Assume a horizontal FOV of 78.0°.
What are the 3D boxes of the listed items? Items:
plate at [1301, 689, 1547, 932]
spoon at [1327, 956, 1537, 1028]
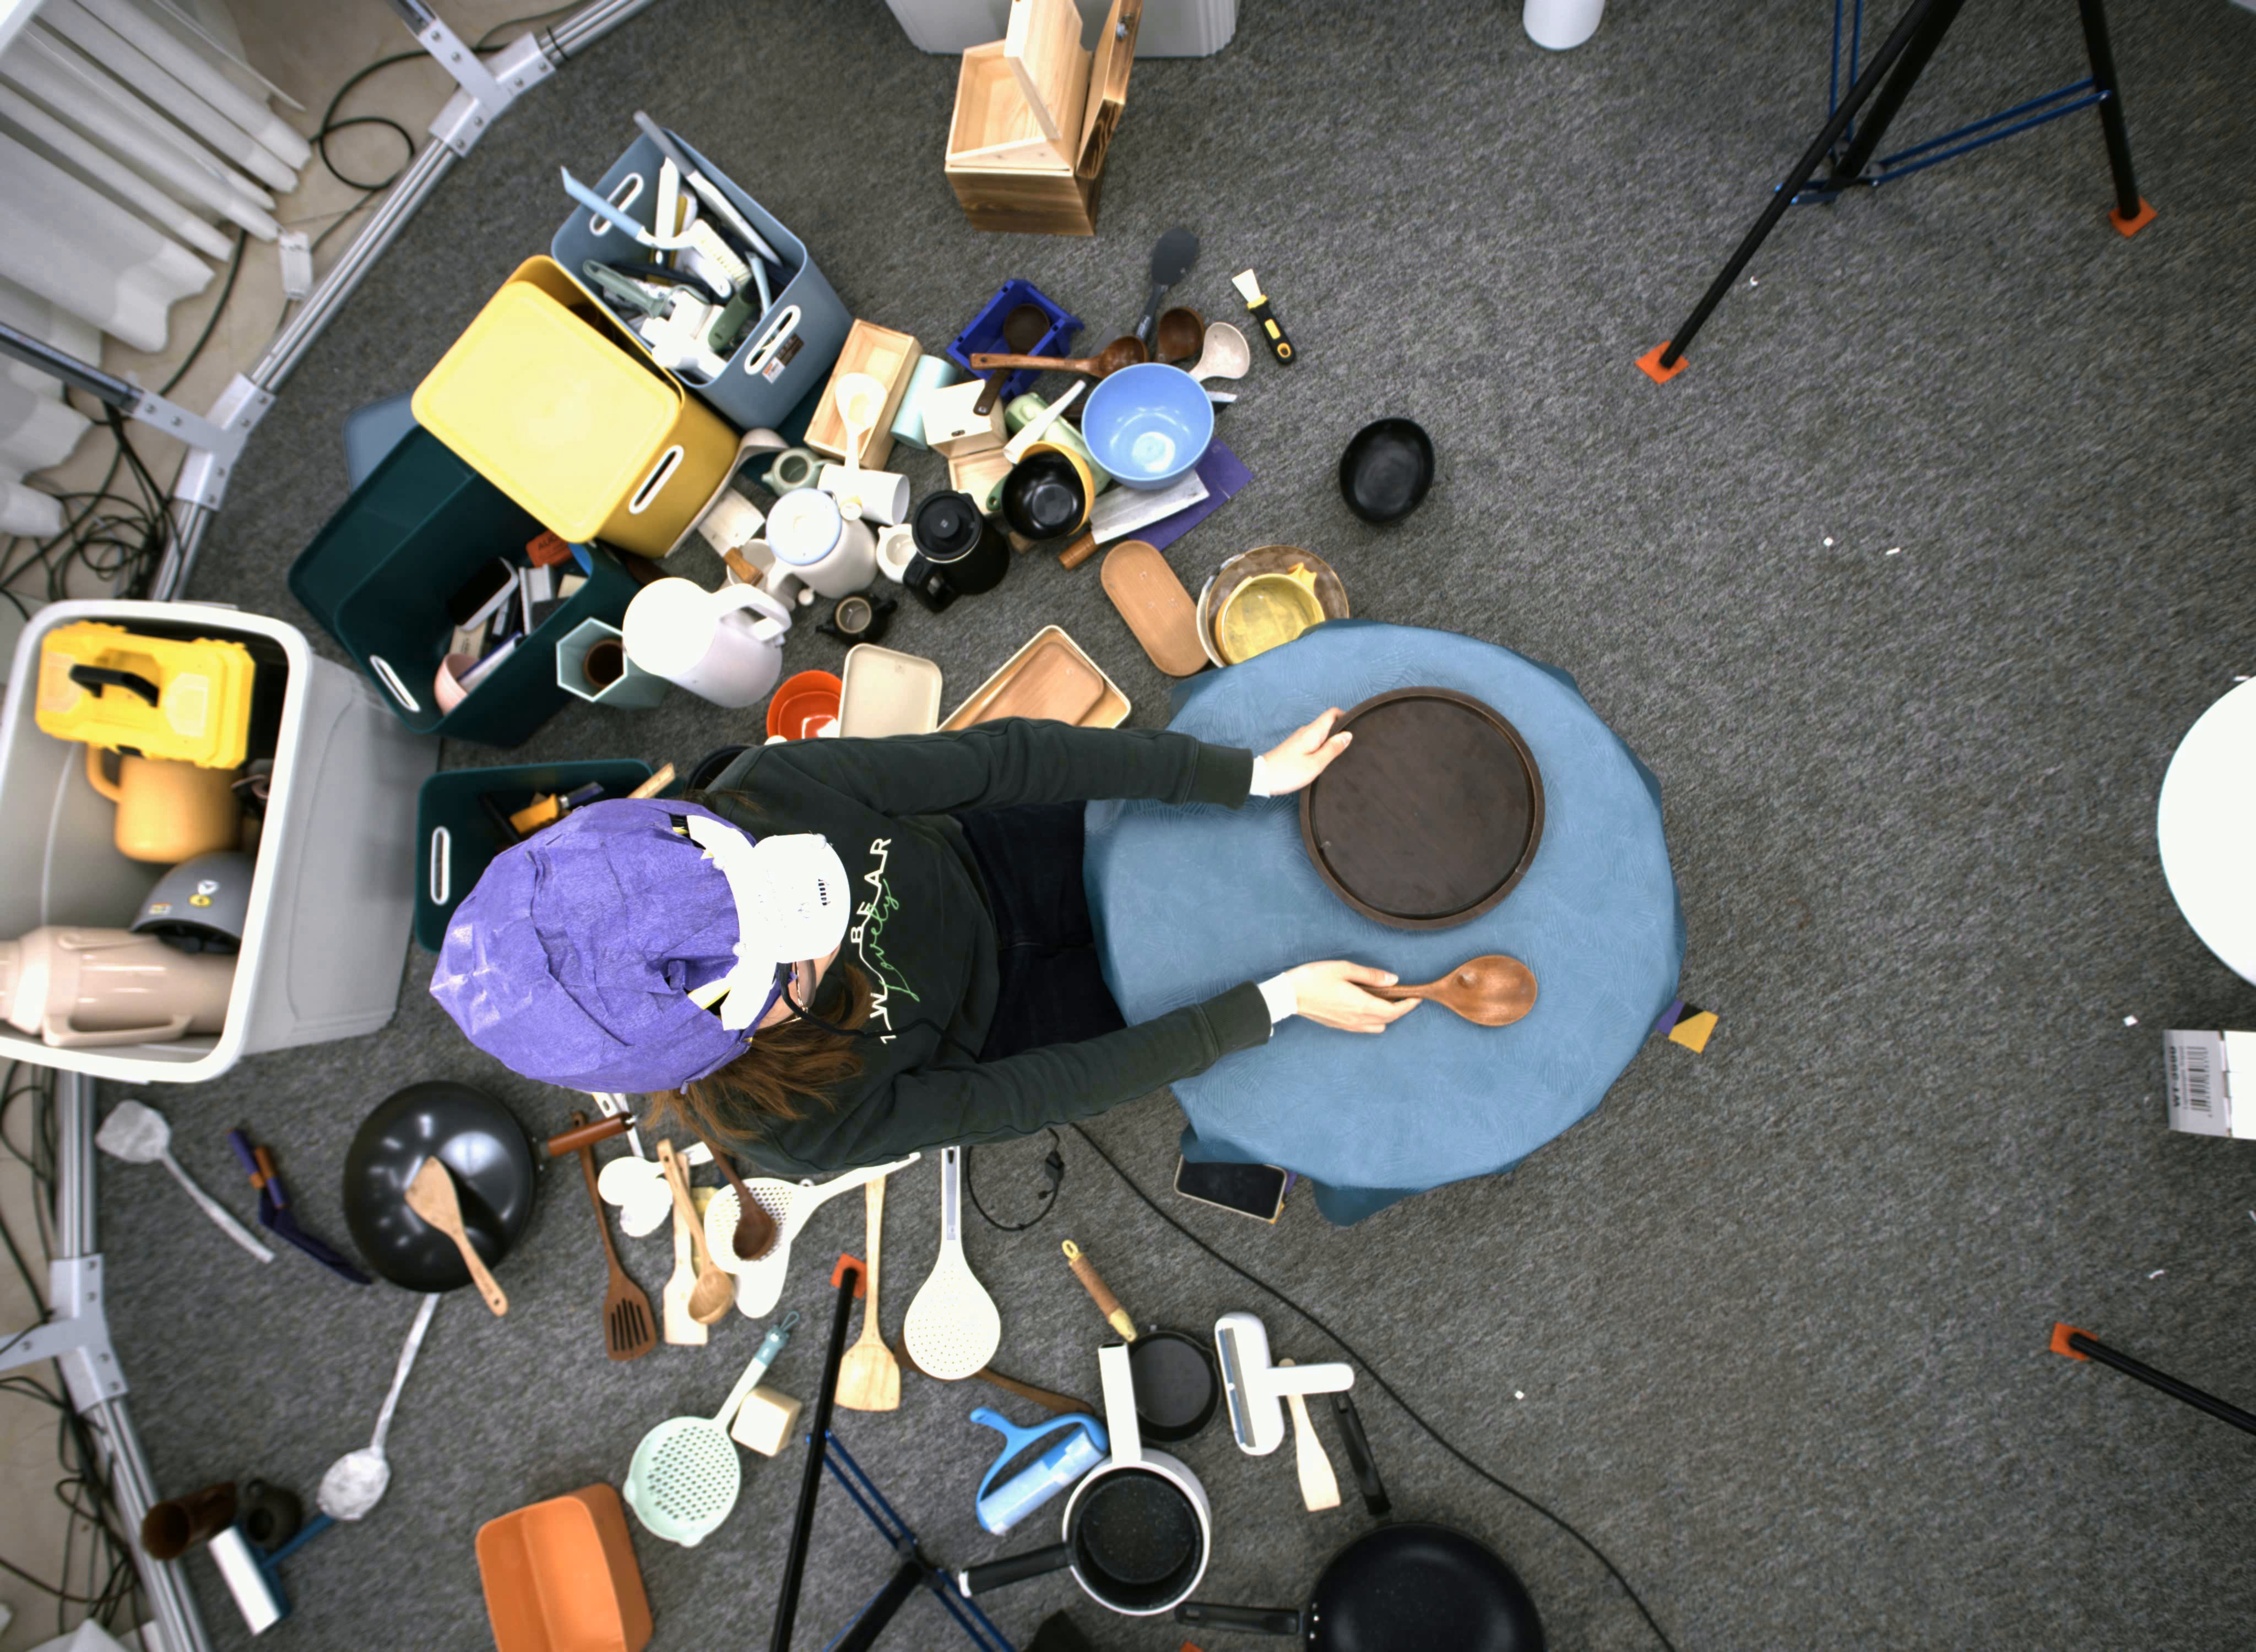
[{"bbox_3d":[0.307,-0.018,1.433,0.255,0.029,0.255,0,94,4],"label":"plate"},{"bbox_3d":[0.314,0.171,1.429,0.216,0.017,0.076,-2,95,2],"label":"spoon"}]
